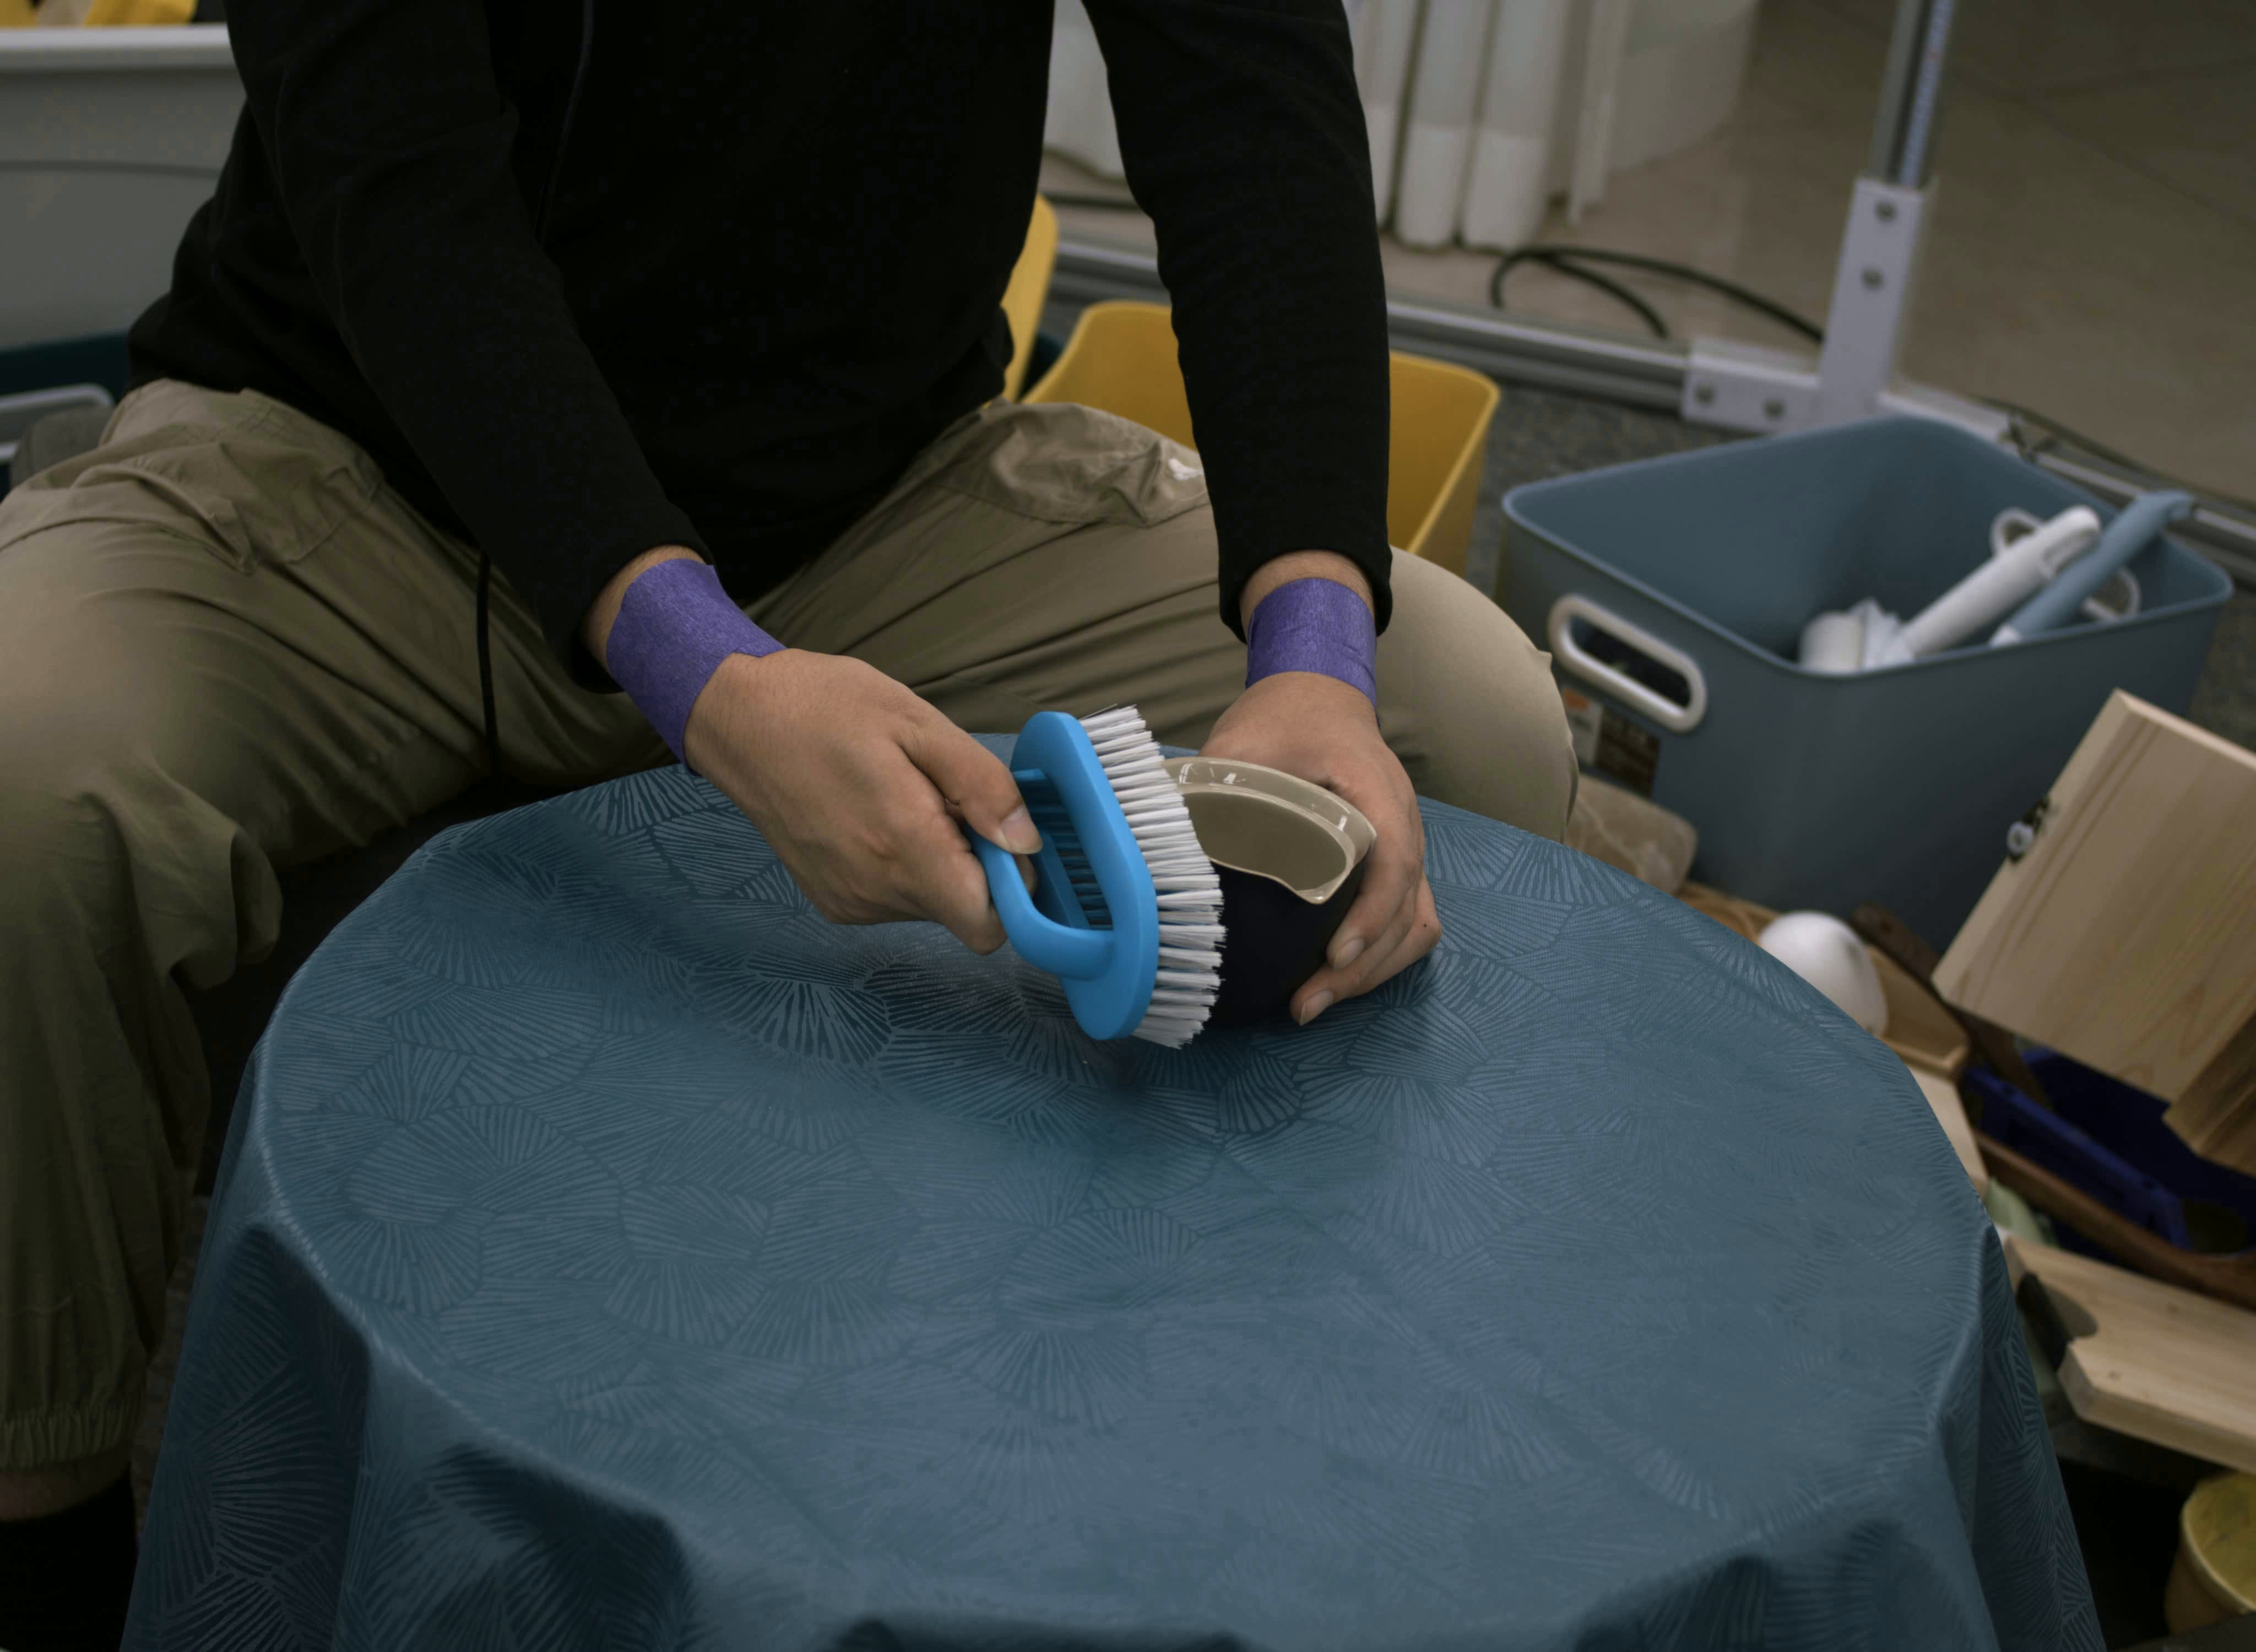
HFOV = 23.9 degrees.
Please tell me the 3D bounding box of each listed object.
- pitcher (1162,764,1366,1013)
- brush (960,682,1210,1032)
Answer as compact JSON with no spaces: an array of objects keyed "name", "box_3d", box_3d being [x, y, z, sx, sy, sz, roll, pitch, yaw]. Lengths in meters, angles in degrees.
[{"name":"pitcher","box_3d":[0.040,0.027,1.912,0.083,0.071,0.097,6,28,-21]},{"name":"brush","box_3d":[-0.022,0.014,1.869,0.063,0.084,0.143,-2,44,-20]}]
